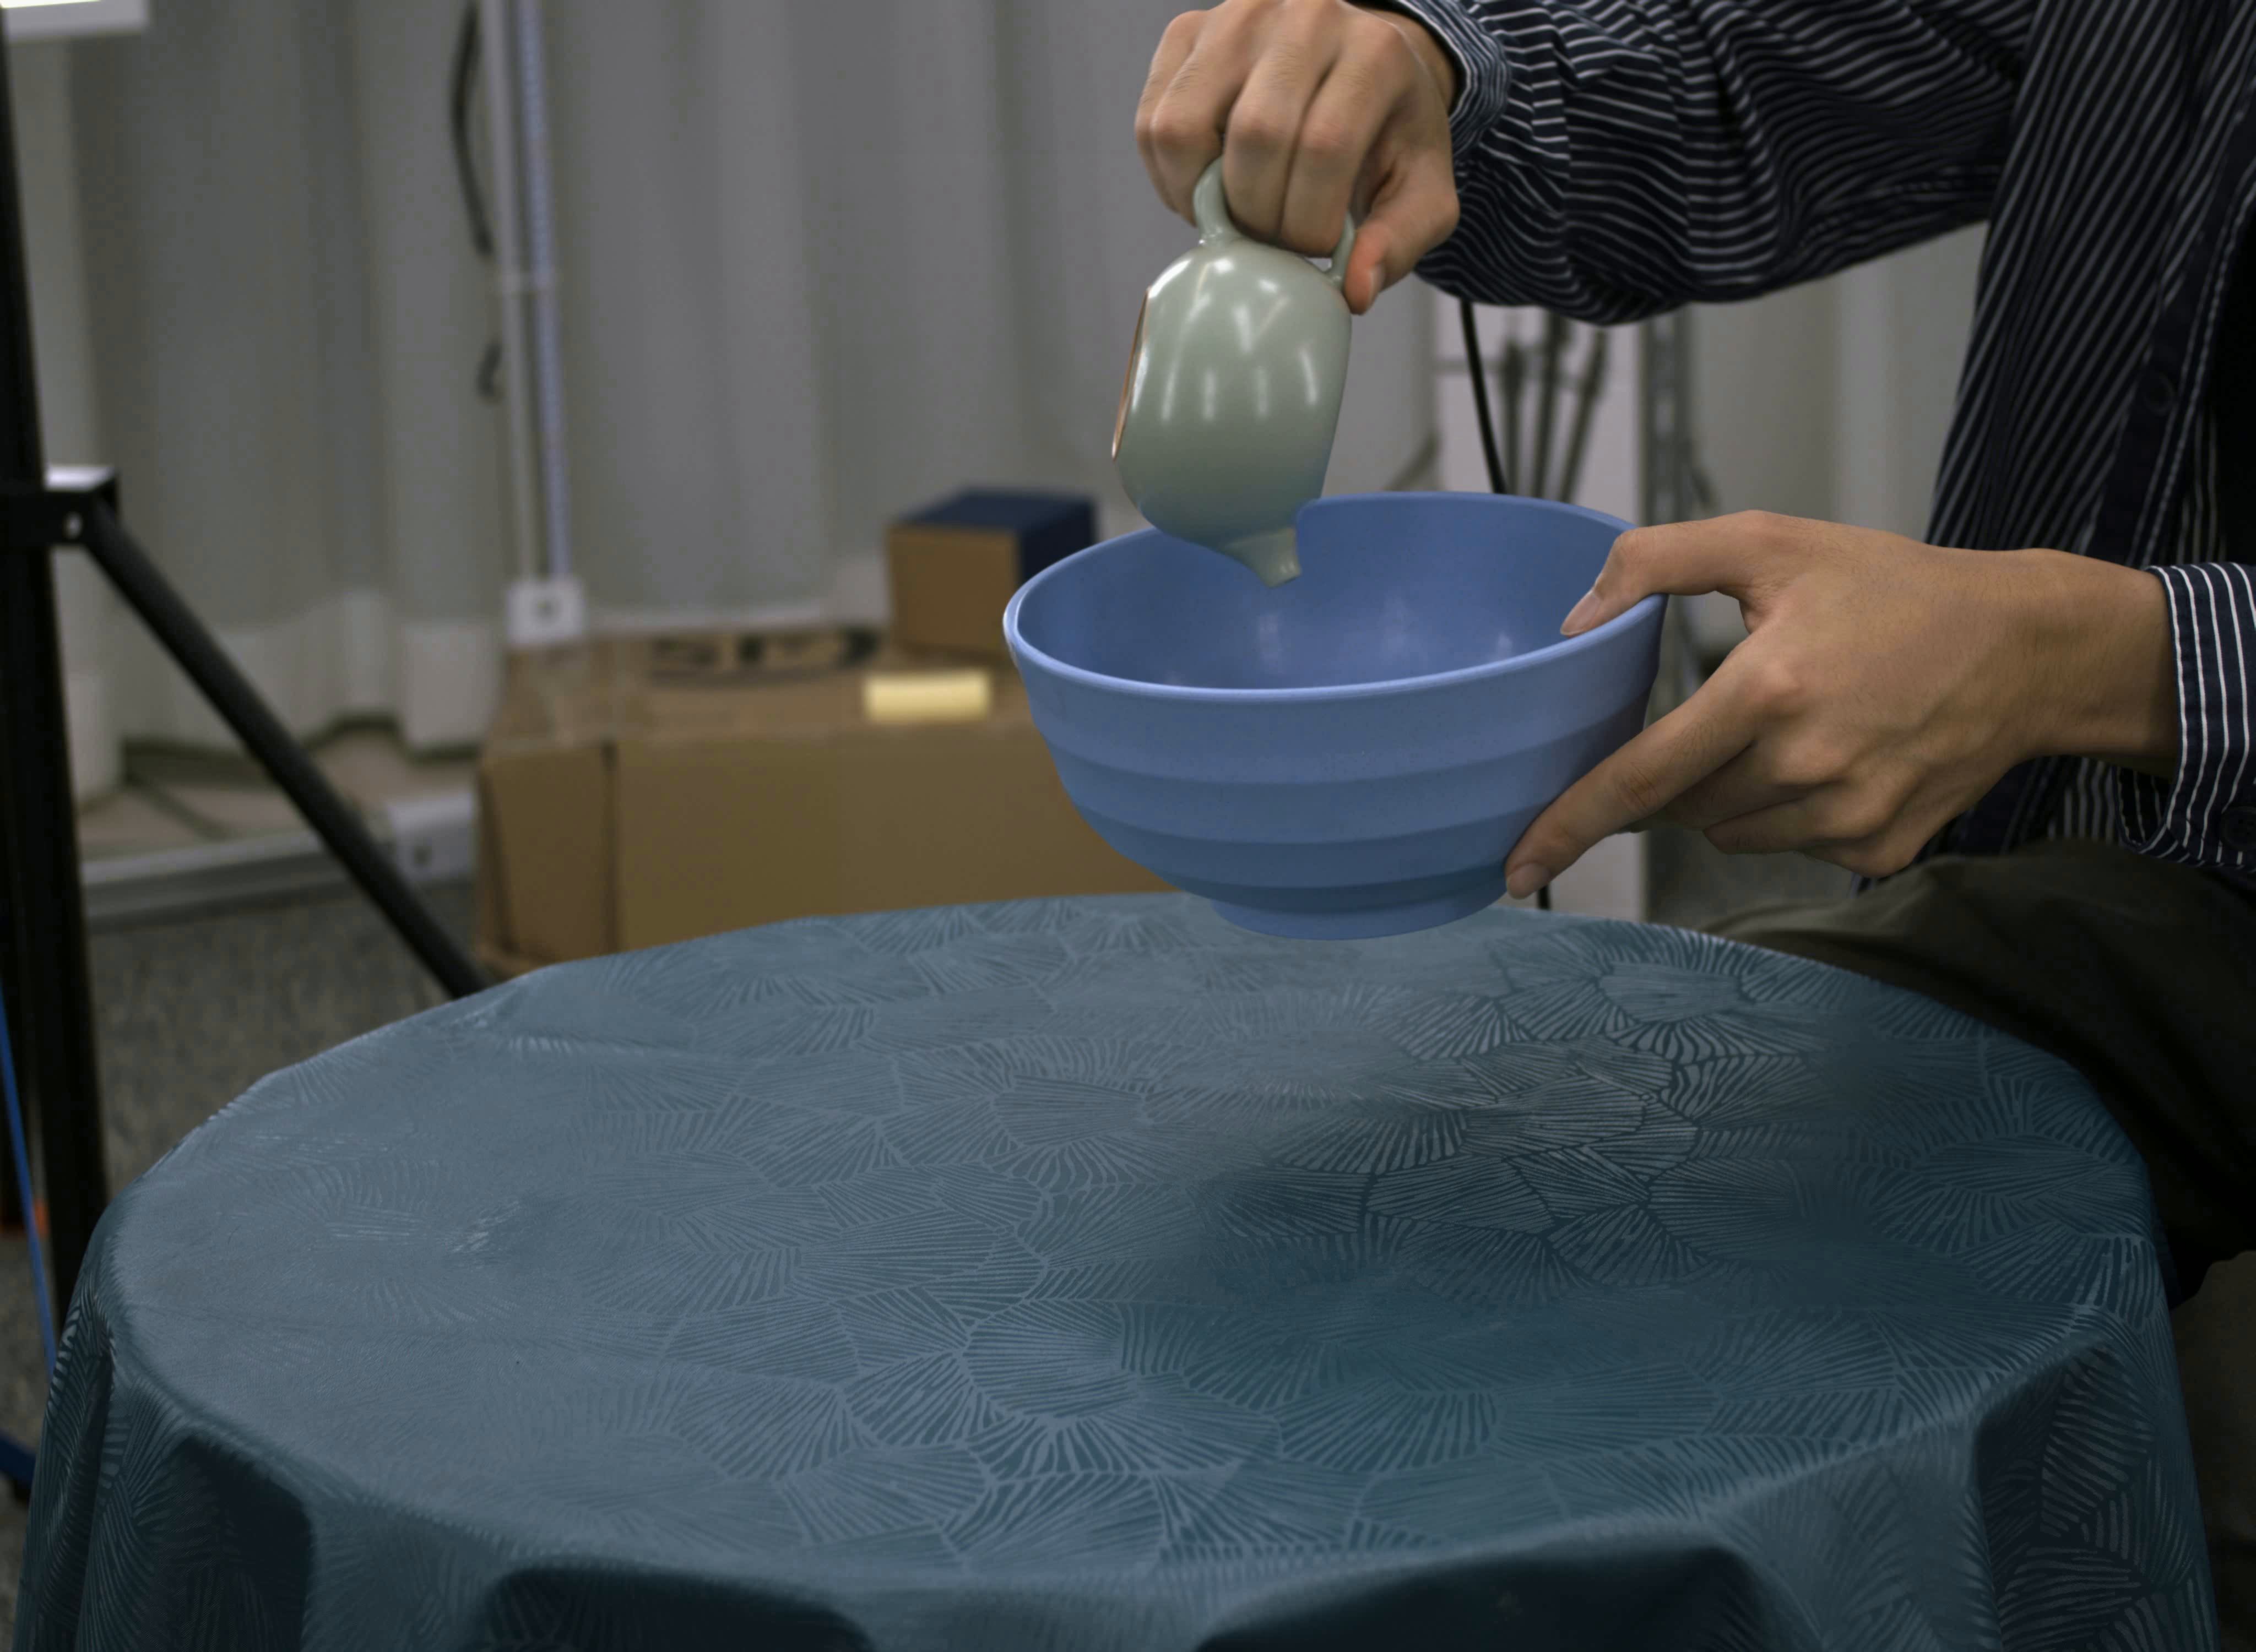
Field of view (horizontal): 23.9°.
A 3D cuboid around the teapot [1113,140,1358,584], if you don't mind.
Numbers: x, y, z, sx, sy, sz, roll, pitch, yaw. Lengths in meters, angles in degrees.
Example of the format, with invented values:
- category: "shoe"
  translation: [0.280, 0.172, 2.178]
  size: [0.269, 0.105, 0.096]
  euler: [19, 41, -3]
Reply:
- category: "teapot"
  translation: [0.032, -0.137, 1.559]
  size: [0.060, 0.129, 0.091]
  euler: [11, -9, -1]

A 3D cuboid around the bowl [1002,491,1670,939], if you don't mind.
- category: "bowl"
  translation: [0.064, -0.027, 1.569]
  size: [0.196, 0.095, 0.198]
  euler: [-6, 19, 1]
